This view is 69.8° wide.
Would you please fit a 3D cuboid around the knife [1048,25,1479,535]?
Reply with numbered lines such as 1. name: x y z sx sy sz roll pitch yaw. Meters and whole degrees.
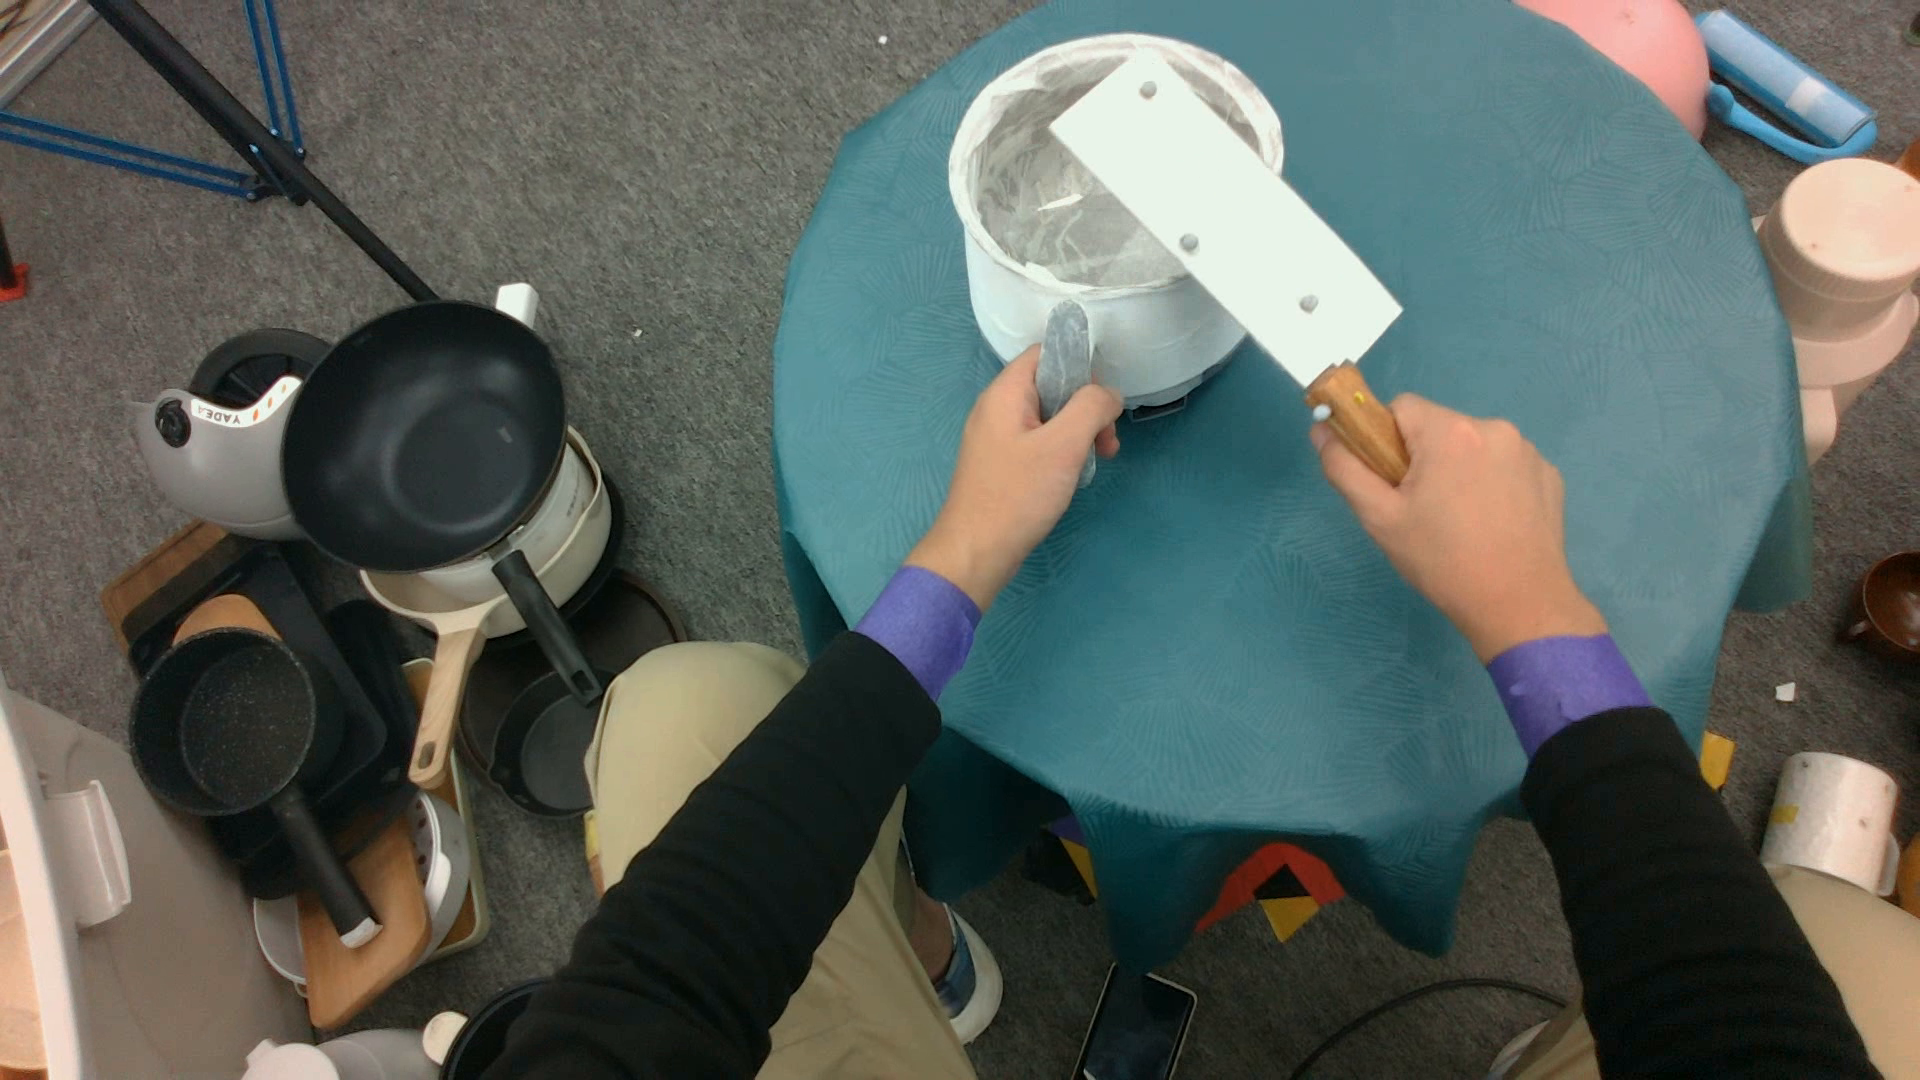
1. knife: 0.168 -0.139 0.702 0.305 0.021 0.093 48 59 -2

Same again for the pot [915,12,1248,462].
1. pot: 0.064 -0.165 0.778 0.178 0.136 0.234 9 64 11
